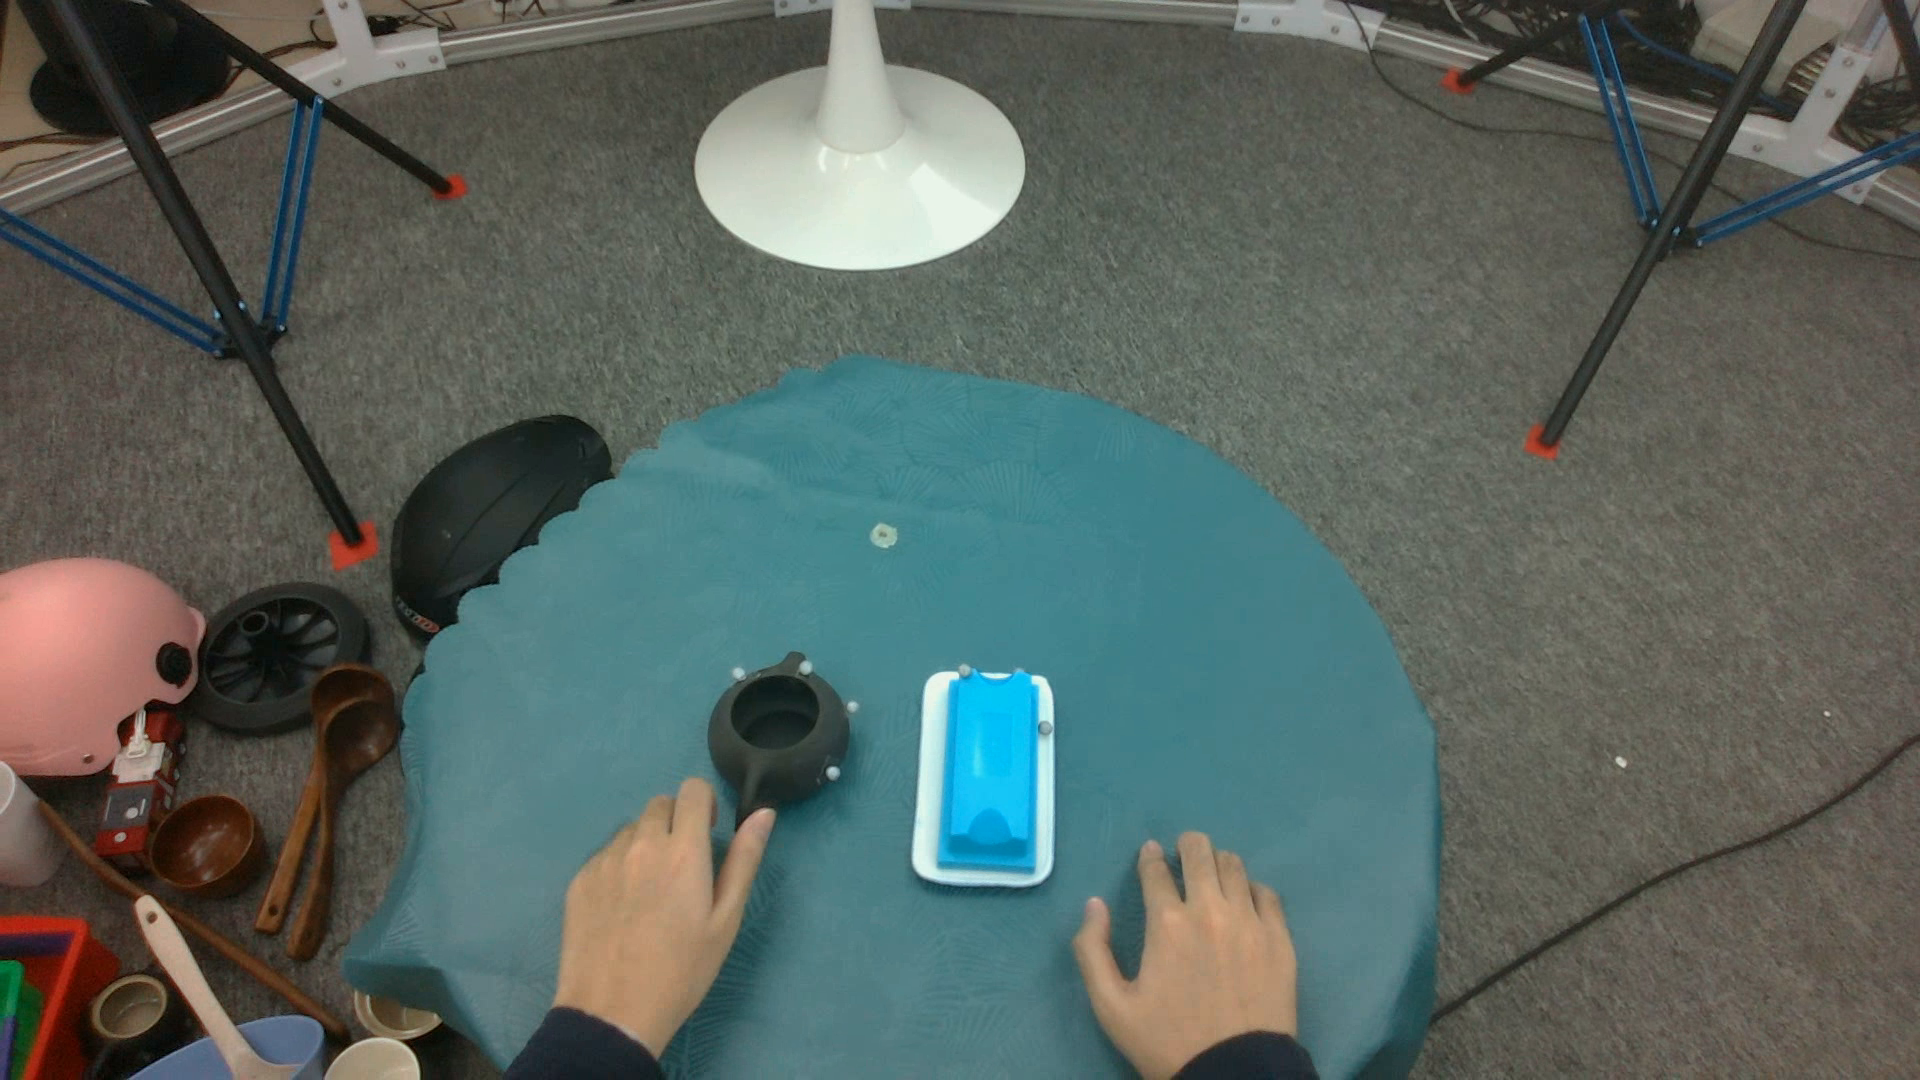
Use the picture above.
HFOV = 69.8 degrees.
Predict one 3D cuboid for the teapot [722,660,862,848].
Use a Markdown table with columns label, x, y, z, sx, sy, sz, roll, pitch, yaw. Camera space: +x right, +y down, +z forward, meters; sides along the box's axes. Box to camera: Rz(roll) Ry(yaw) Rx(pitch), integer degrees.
| label | x | y | z | sx | sy | sz | roll | pitch | yaw |
| --- | --- | --- | --- | --- | --- | --- | --- | --- | --- |
| teapot | -0.103 | 0.128 | 0.811 | 0.083 | 0.053 | 0.114 | 11 | 50 | 12 |

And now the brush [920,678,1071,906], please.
| label | x | y | z | sx | sy | sz | roll | pitch | yaw |
| --- | --- | --- | --- | --- | --- | --- | --- | --- | --- |
| brush | 0.022 | 0.138 | 0.798 | 0.084 | 0.055 | 0.144 | 2 | 50 | 5 |
